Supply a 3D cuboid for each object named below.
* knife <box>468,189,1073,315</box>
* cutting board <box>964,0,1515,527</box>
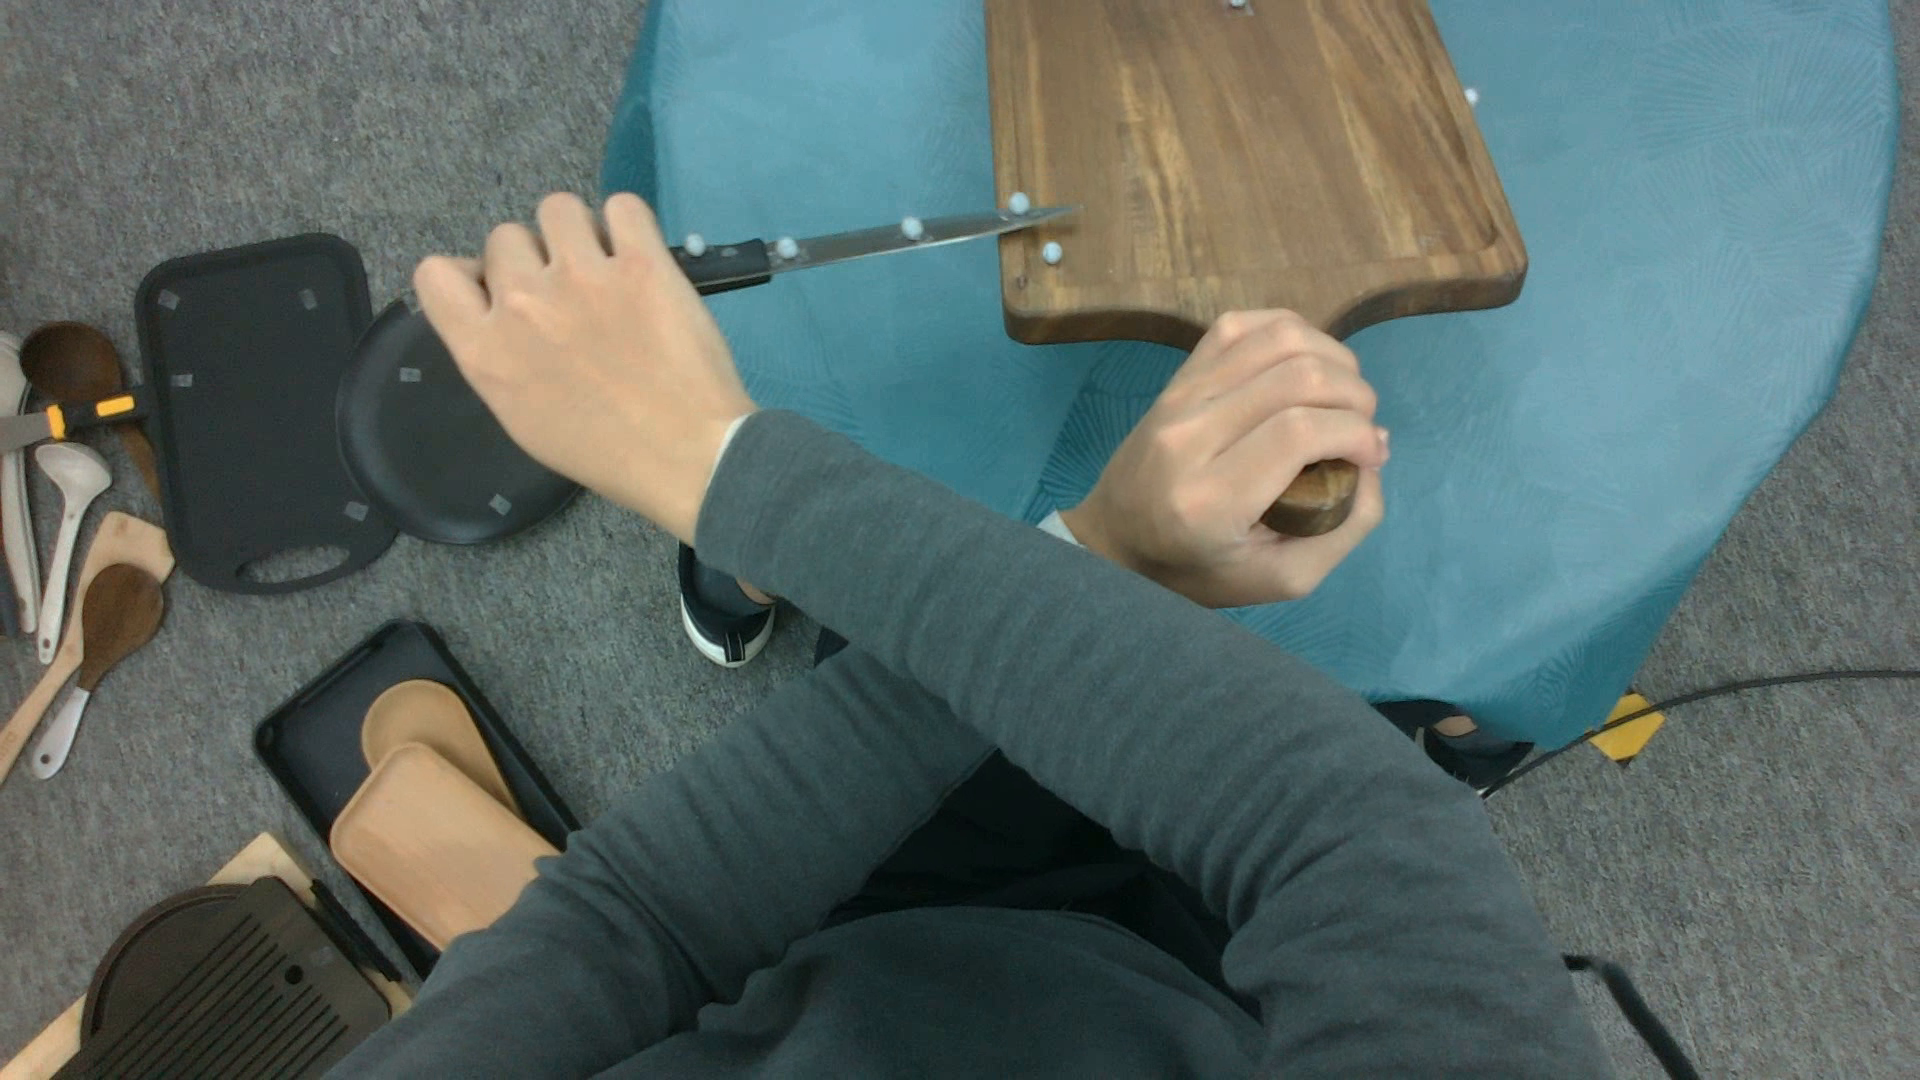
[{"bbox_3d":[-0.070,-0.115,0.536,0.238,0.016,0.024,-11,48,-7],"label":"knife"},{"bbox_3d":[0.107,-0.150,0.565,0.201,0.023,0.353,-4,53,2],"label":"cutting board"}]
